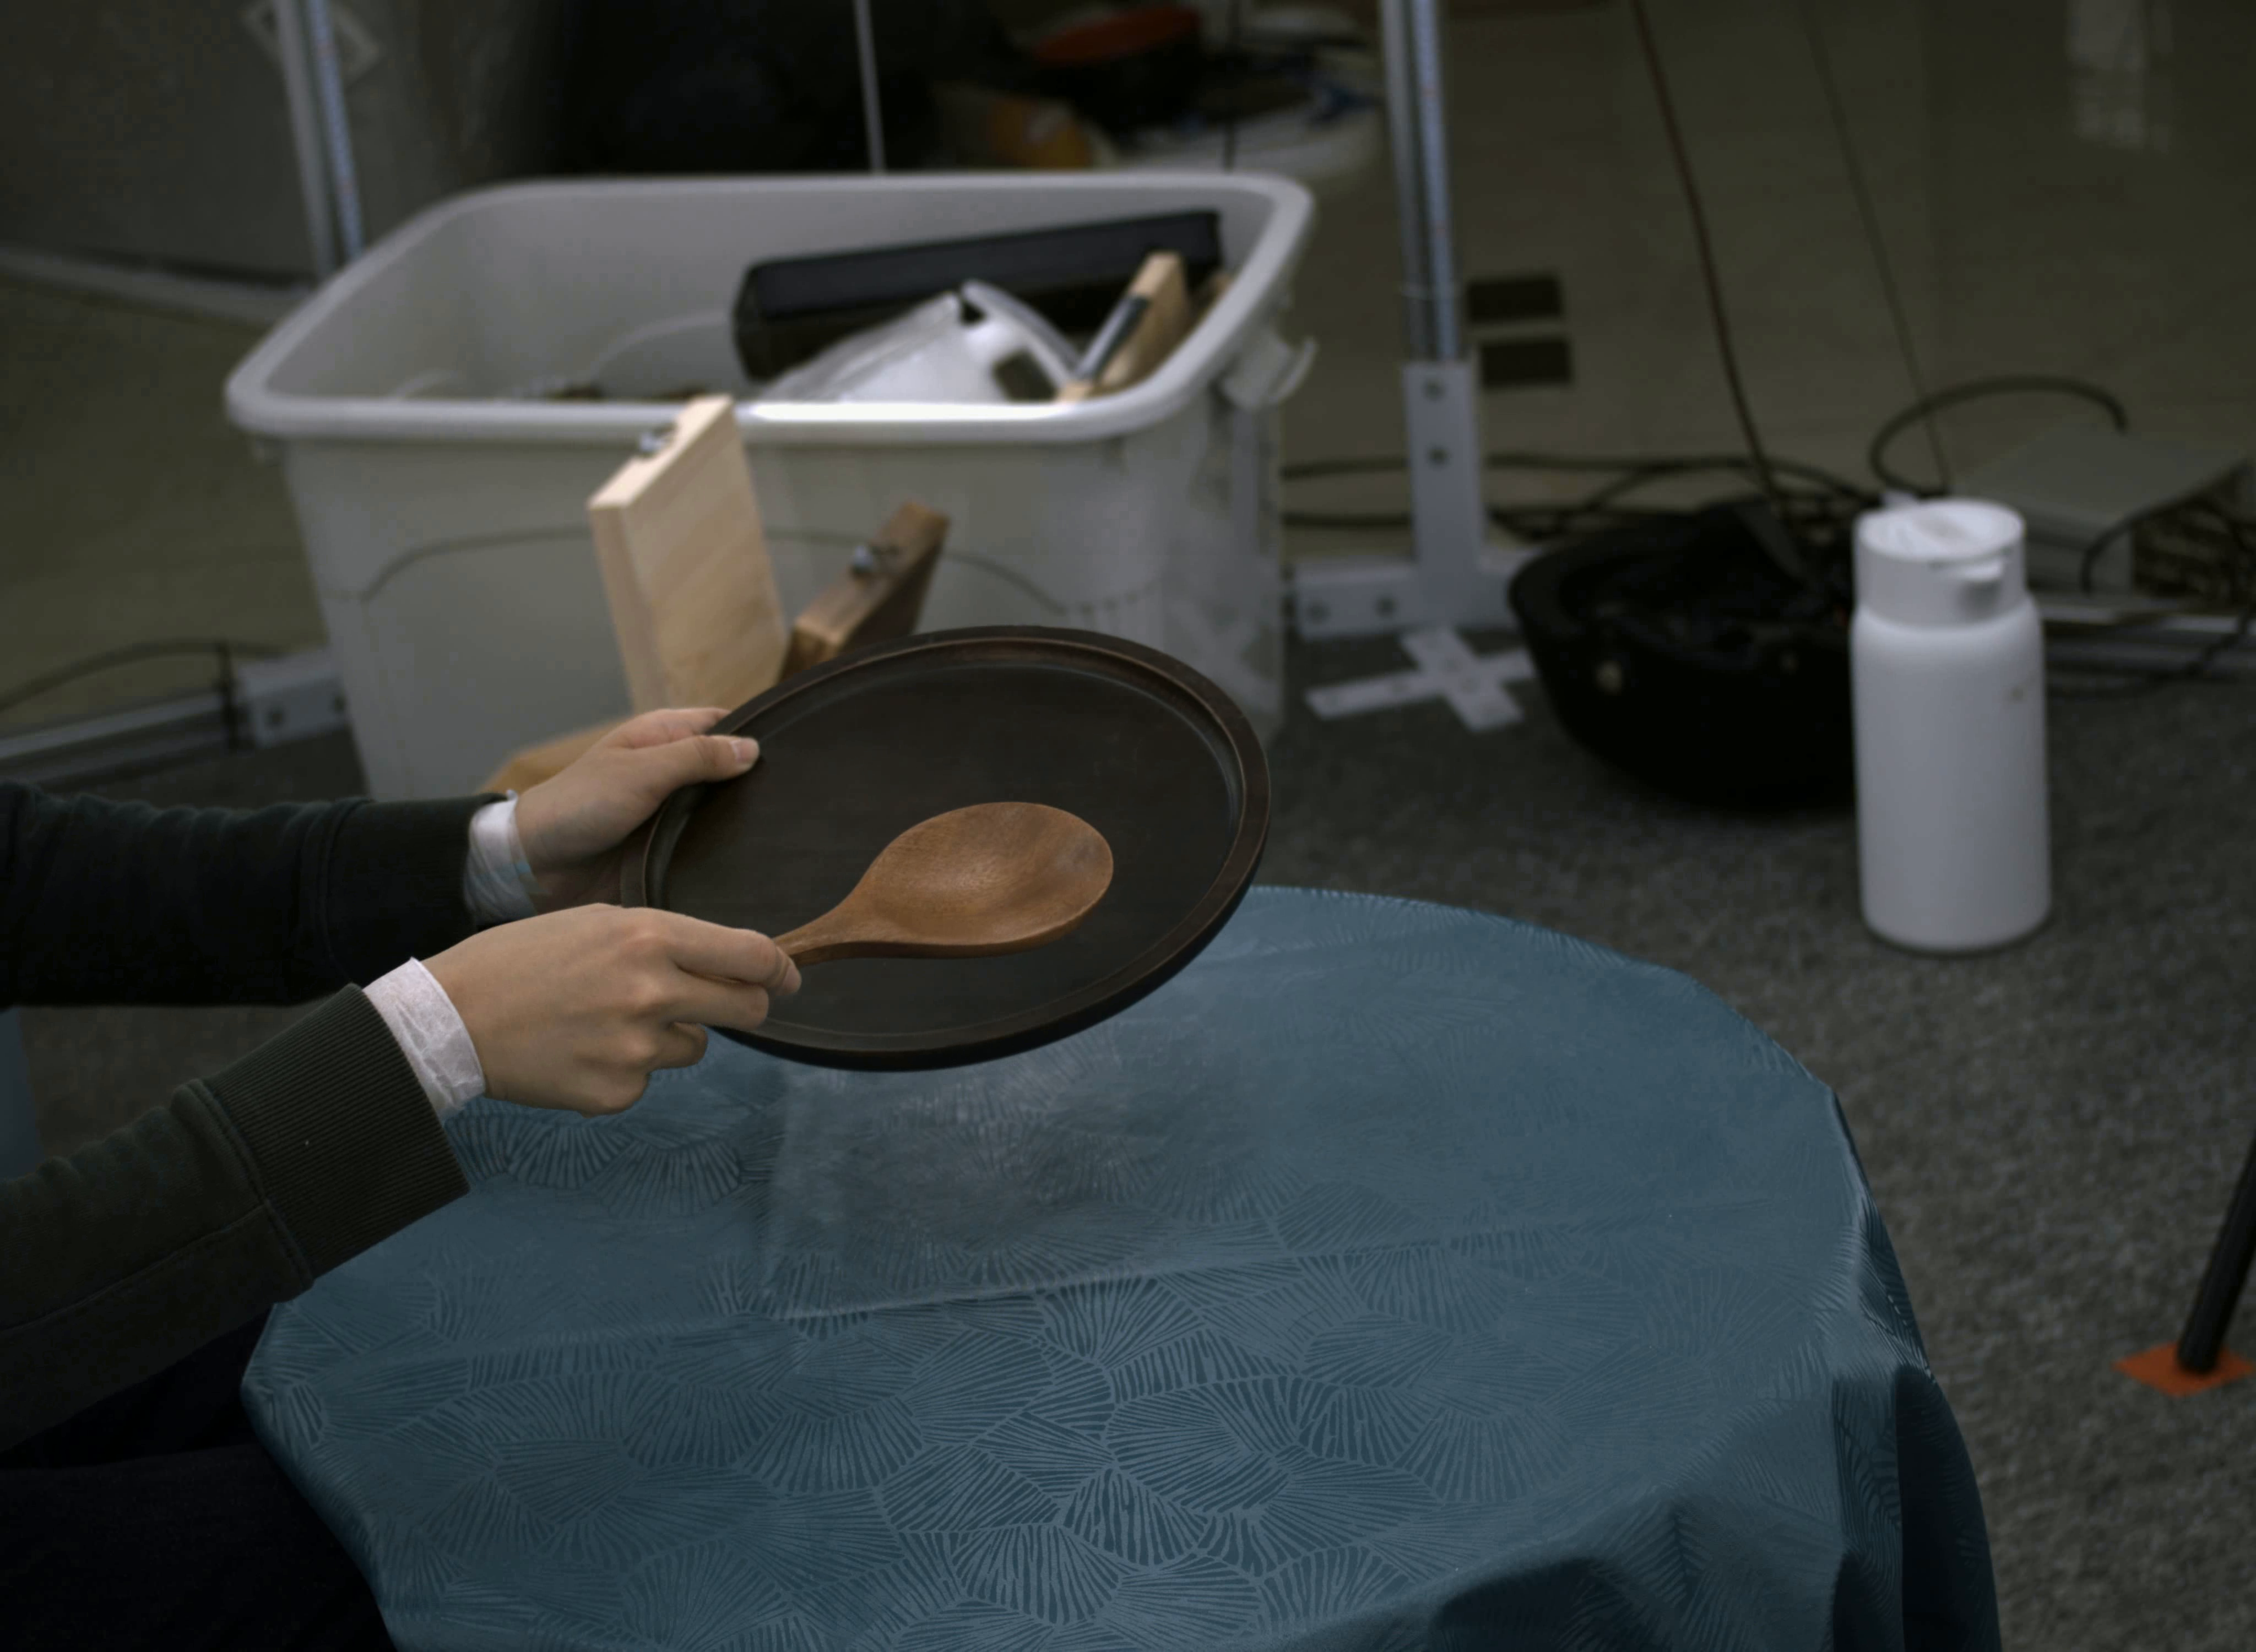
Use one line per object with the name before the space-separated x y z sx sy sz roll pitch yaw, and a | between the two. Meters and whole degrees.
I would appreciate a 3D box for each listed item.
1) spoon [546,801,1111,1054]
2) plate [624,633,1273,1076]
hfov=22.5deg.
spoon | -0.104 0.040 1.985 0.215 0.017 0.074 -18 47 -24
plate | -0.068 0.010 2.163 0.254 0.029 0.250 -7 39 5
